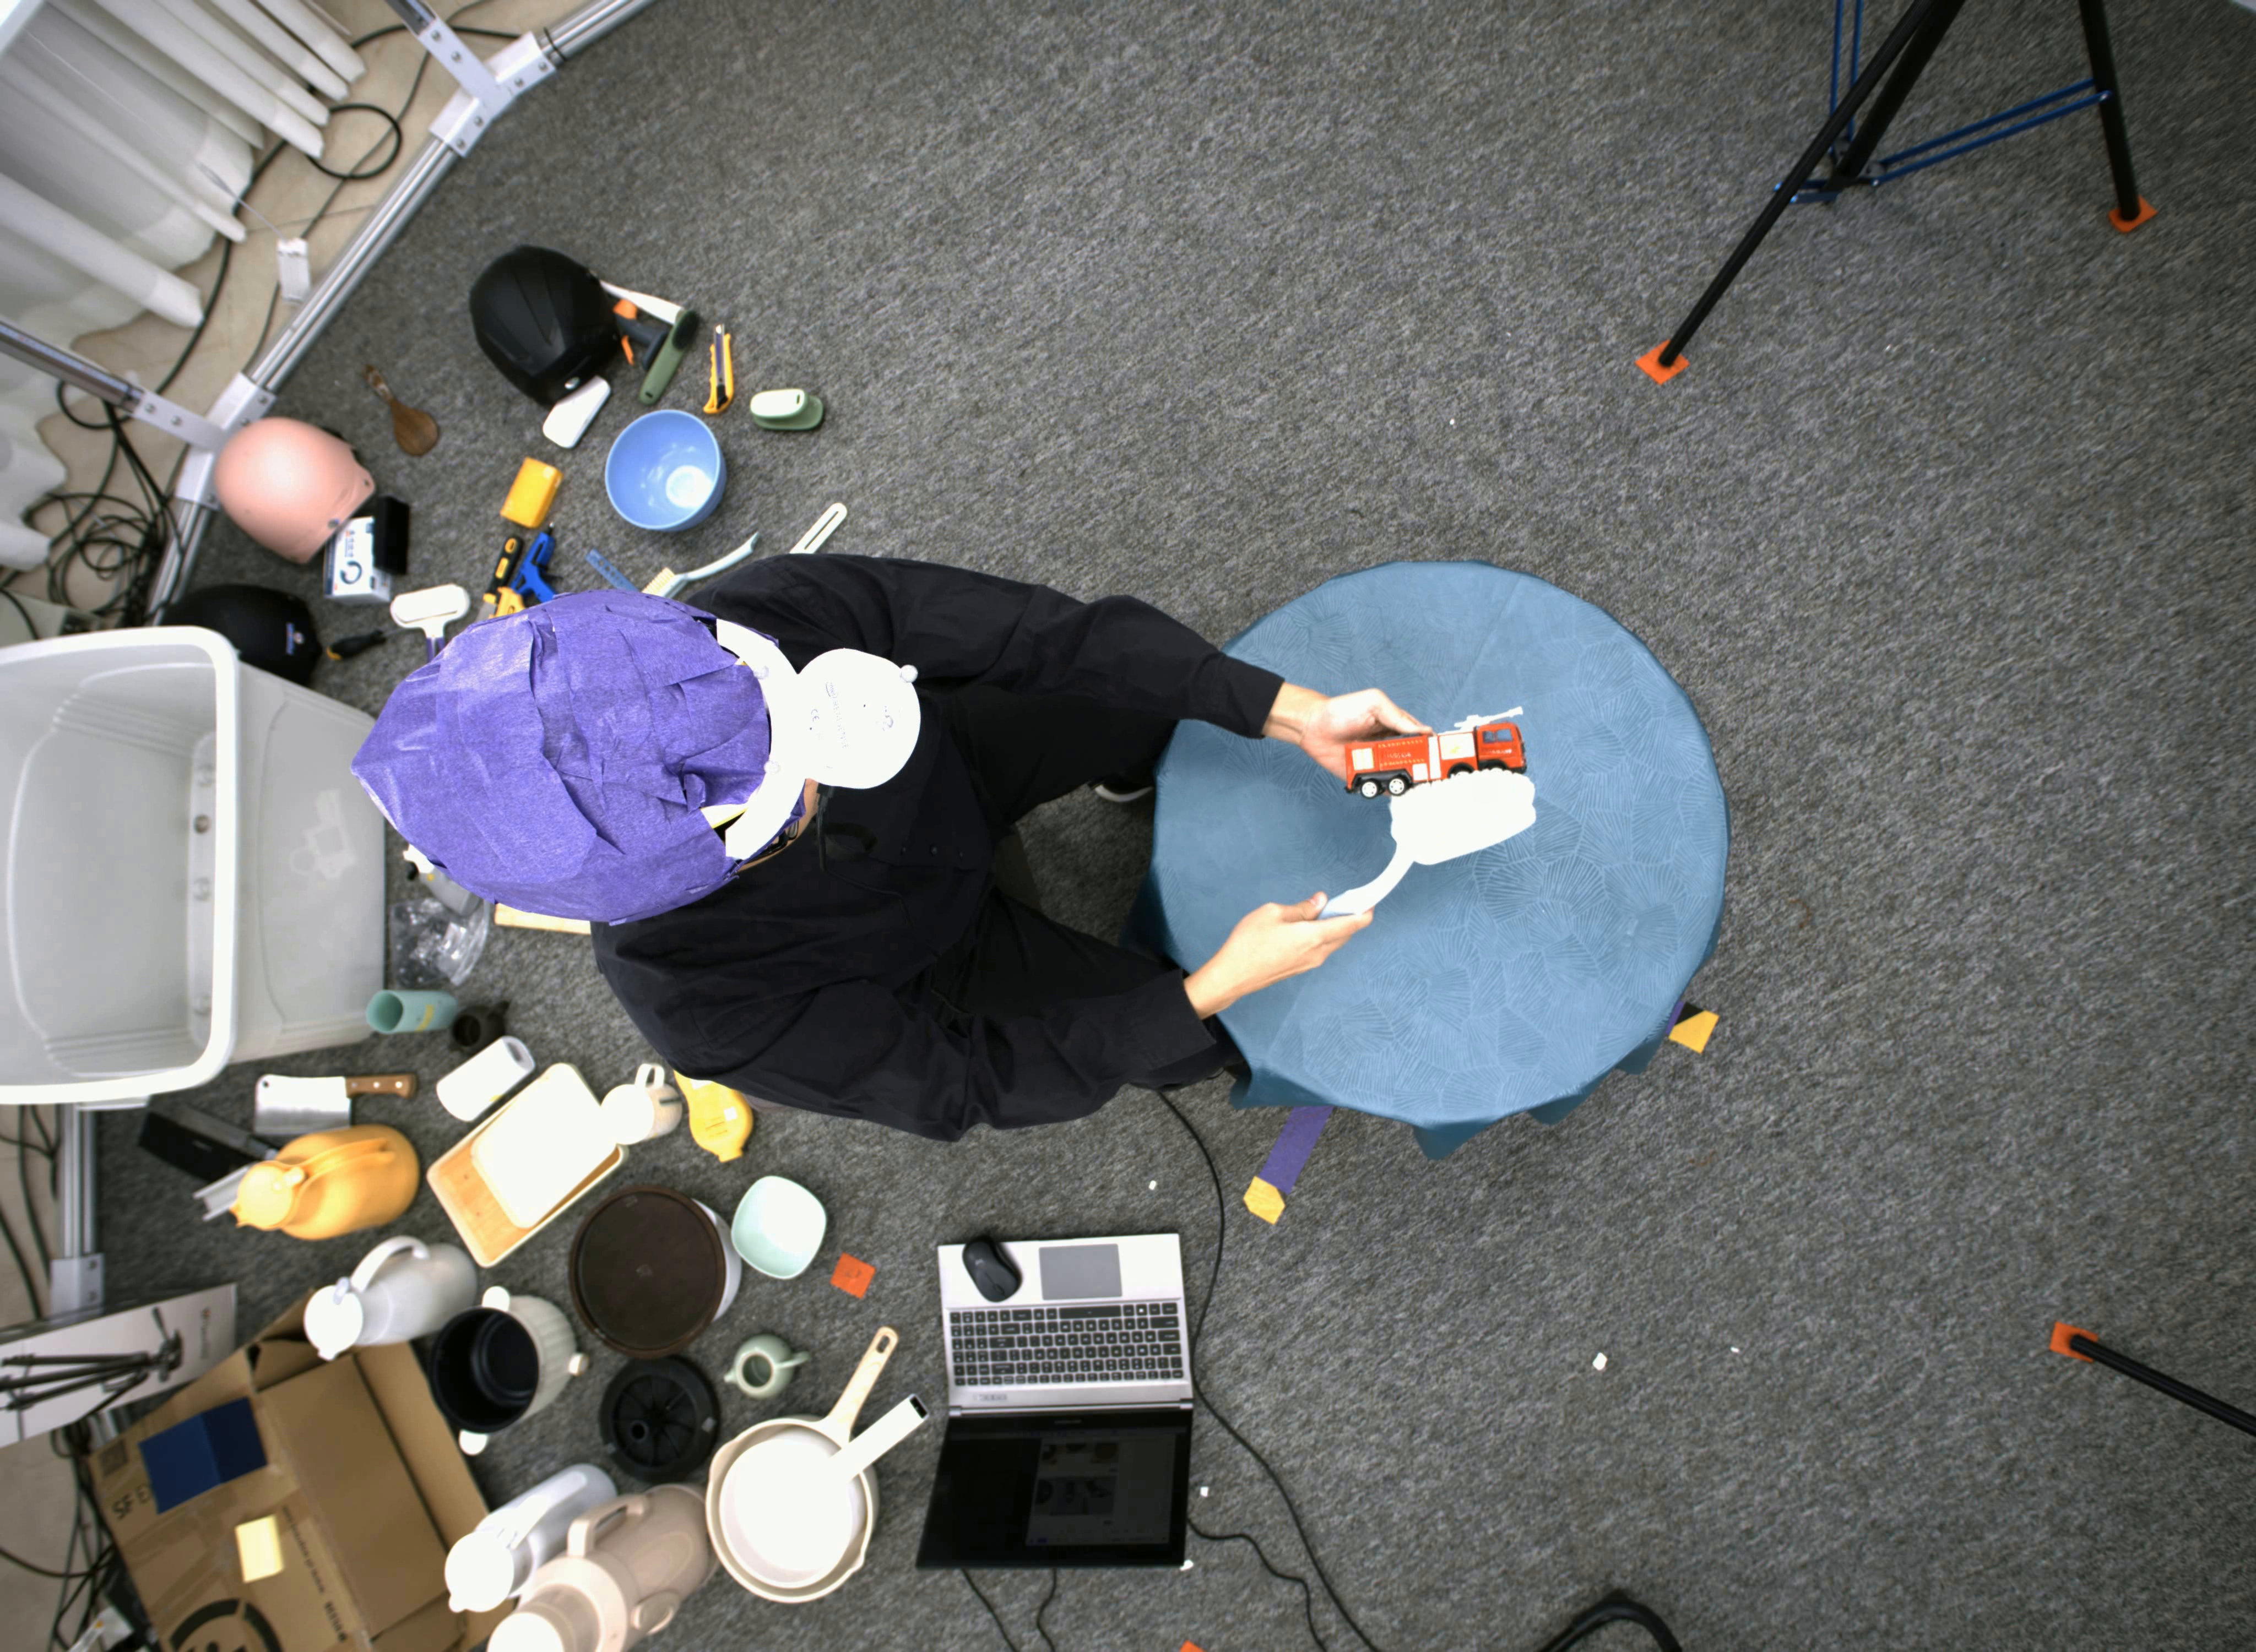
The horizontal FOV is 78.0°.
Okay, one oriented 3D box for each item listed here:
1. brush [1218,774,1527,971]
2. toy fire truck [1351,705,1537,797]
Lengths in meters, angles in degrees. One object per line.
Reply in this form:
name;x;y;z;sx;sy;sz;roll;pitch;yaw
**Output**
brush;0.215;0.031;1.283;0.330;0.083;0.083;-29;96;24
toy fire truck;0.287;-0.066;1.247;0.169;0.053;0.070;-7;96;21
